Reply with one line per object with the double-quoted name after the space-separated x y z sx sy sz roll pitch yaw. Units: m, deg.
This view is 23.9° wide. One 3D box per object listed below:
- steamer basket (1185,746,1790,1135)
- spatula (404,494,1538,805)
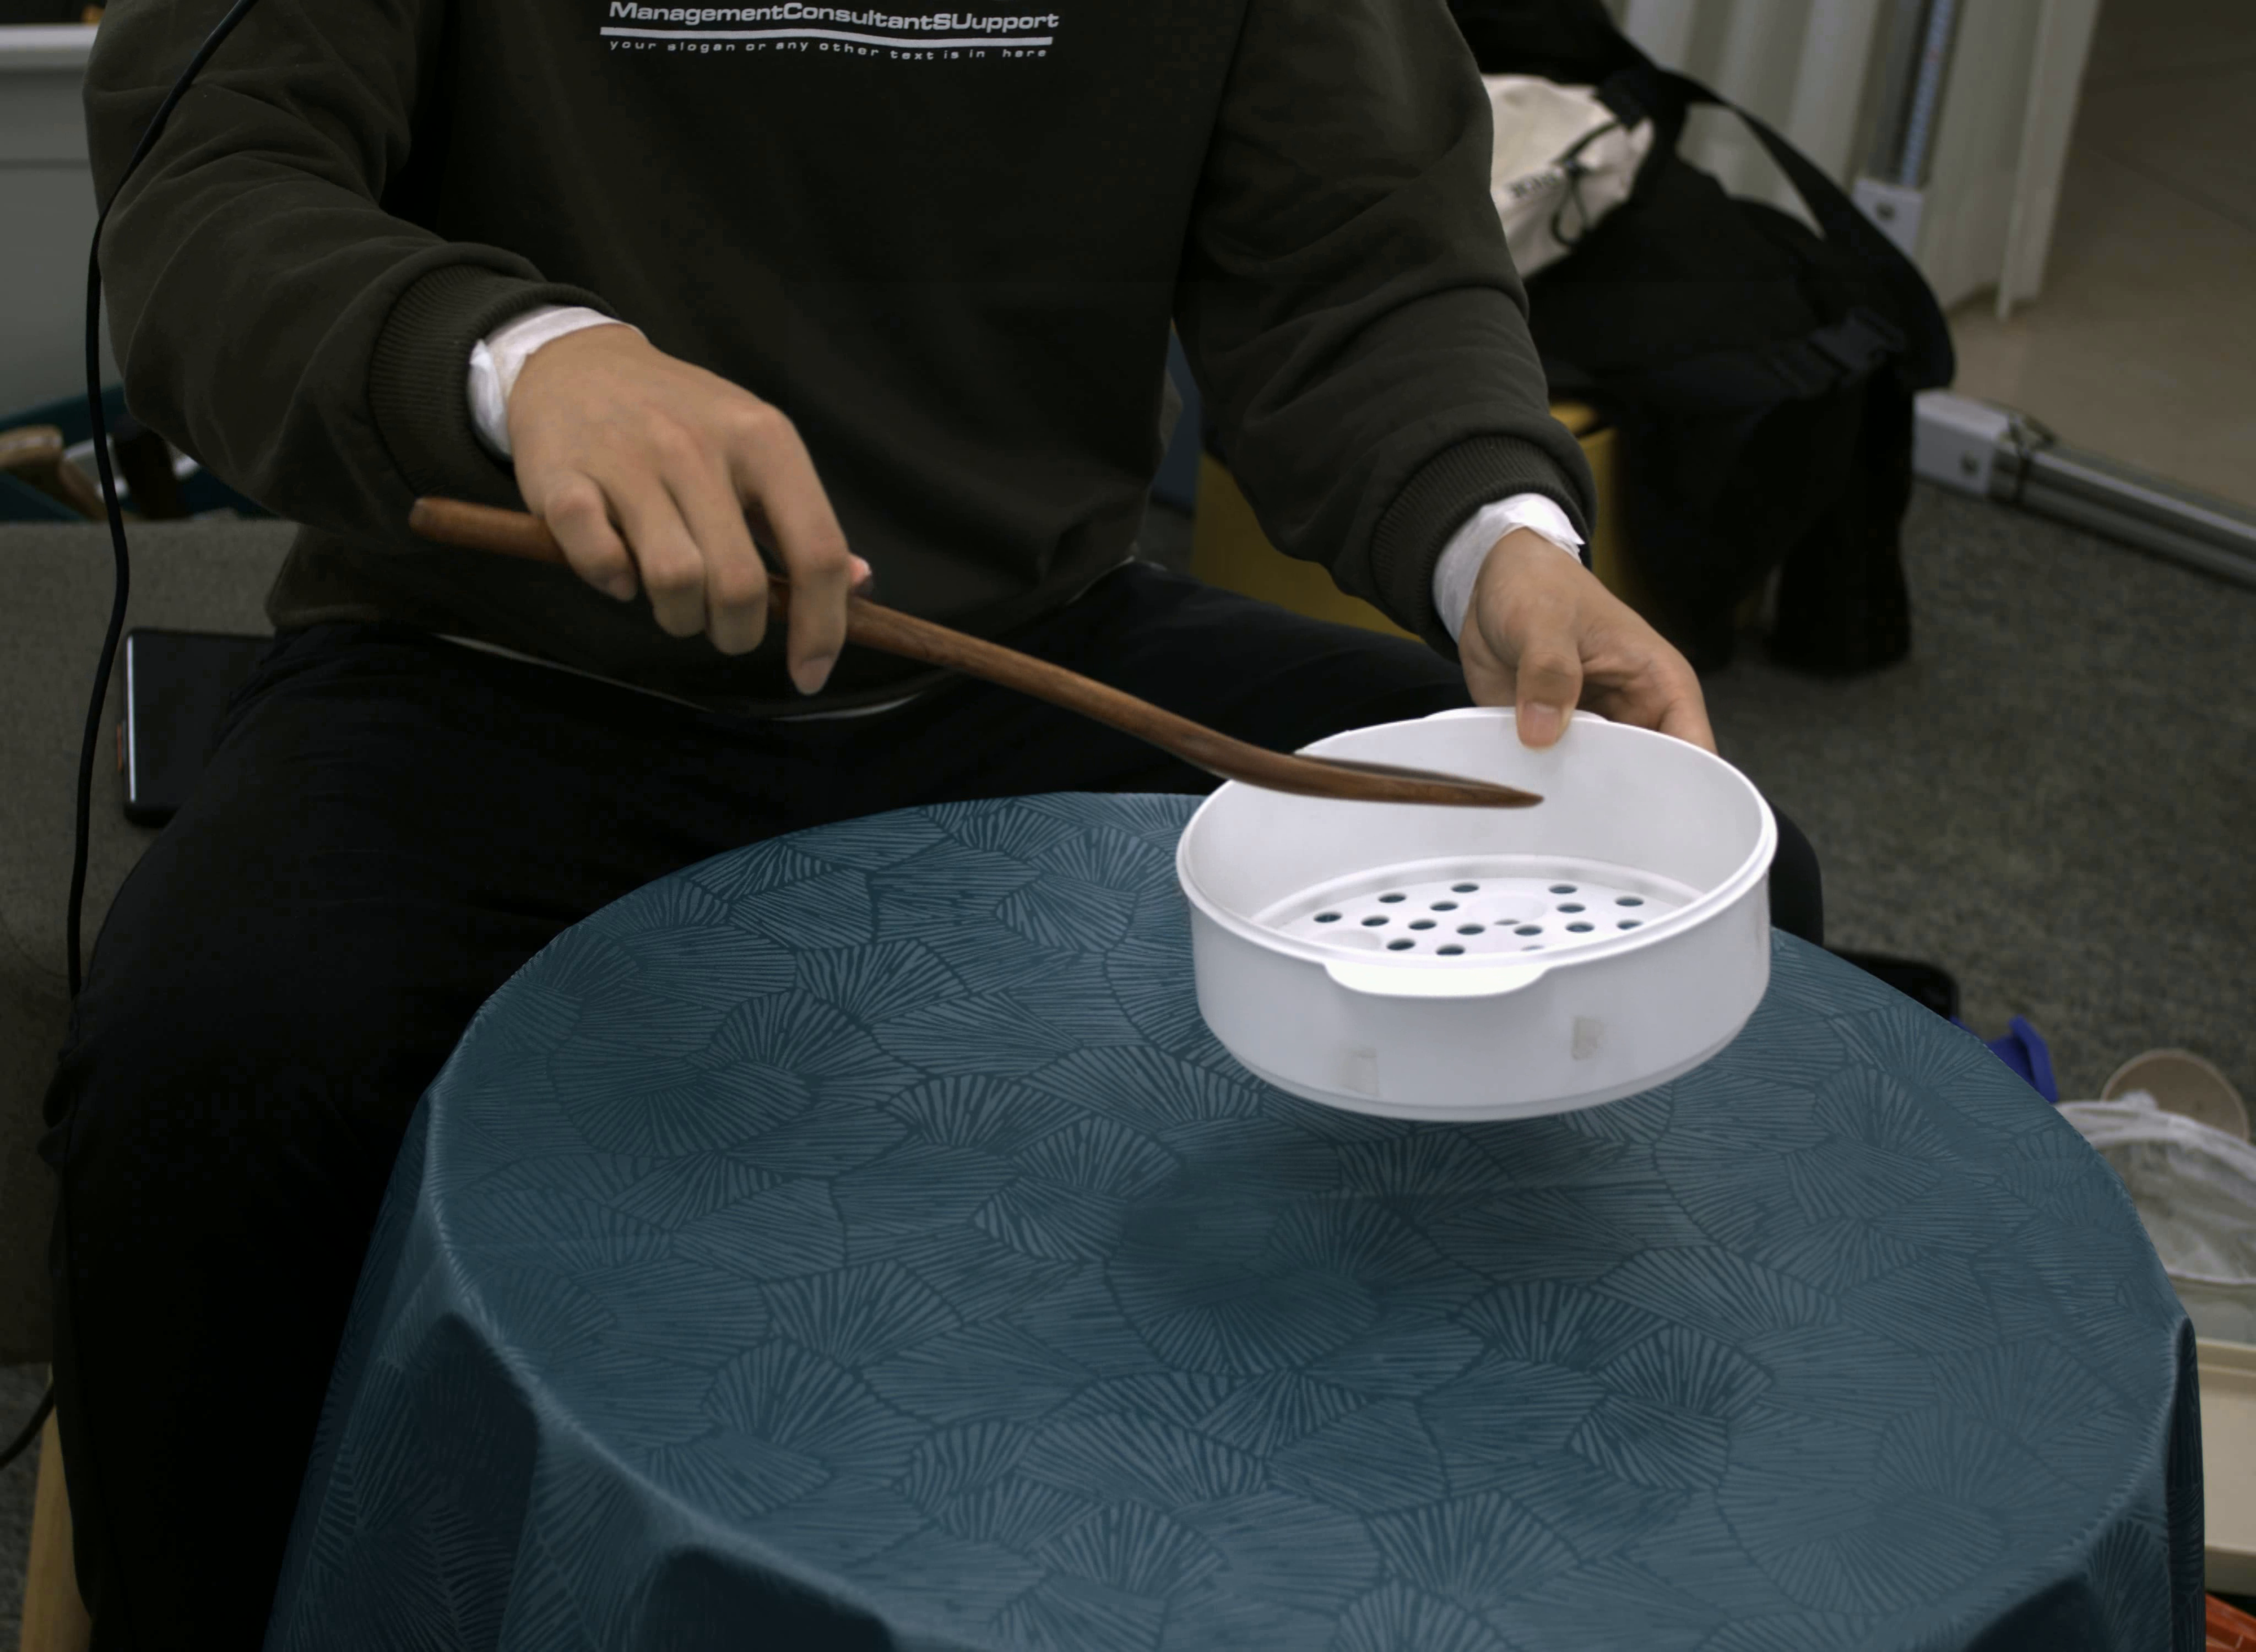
0.121 0.039 1.785 0.202 0.069 0.231 2 21 12 "steamer basket"
-0.048 -0.051 1.702 0.382 0.024 0.086 15 3 -20 "spatula"
